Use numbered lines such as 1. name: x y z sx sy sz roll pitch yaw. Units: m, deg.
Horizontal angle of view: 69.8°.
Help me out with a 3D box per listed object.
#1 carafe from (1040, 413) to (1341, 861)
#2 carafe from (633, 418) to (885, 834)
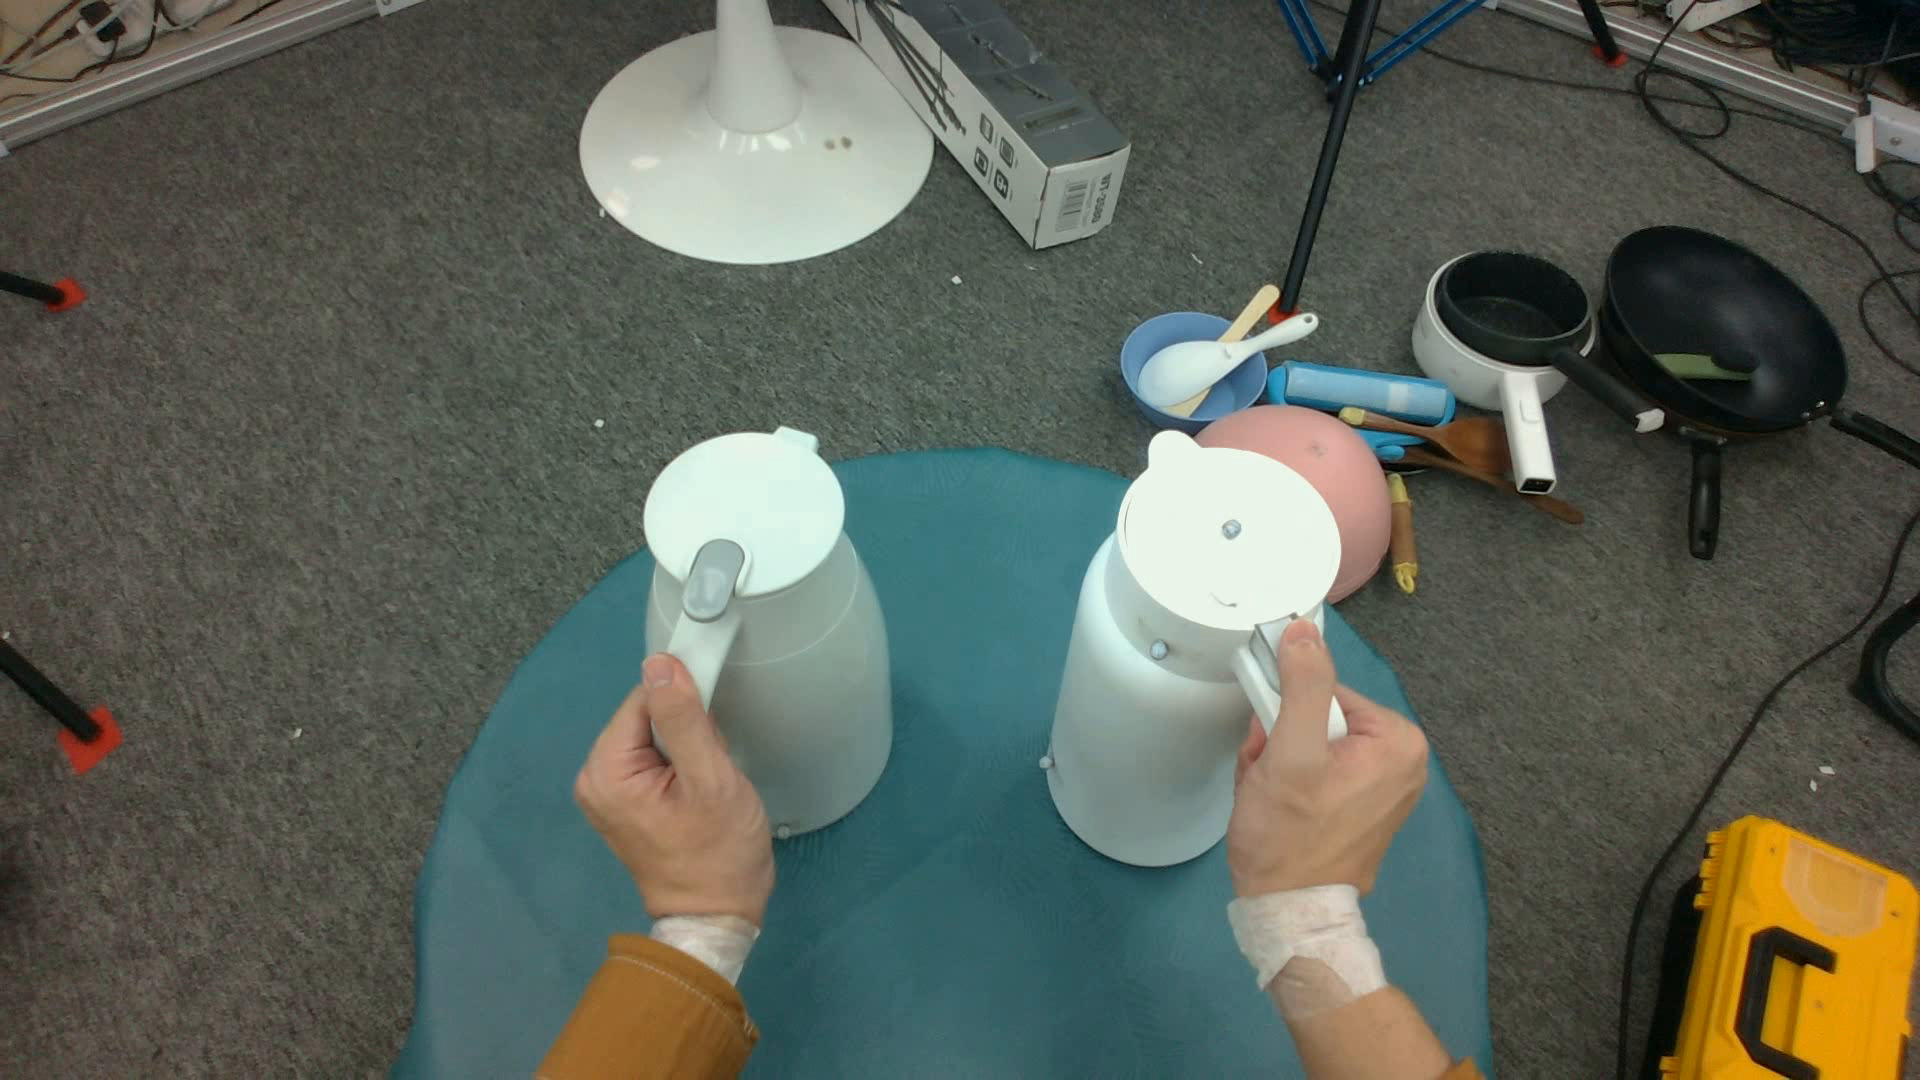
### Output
1. carafe: 0.118 0.079 0.705 0.124 0.267 0.173 -15 58 -15
2. carafe: -0.112 0.062 0.715 0.132 0.247 0.168 16 58 8
